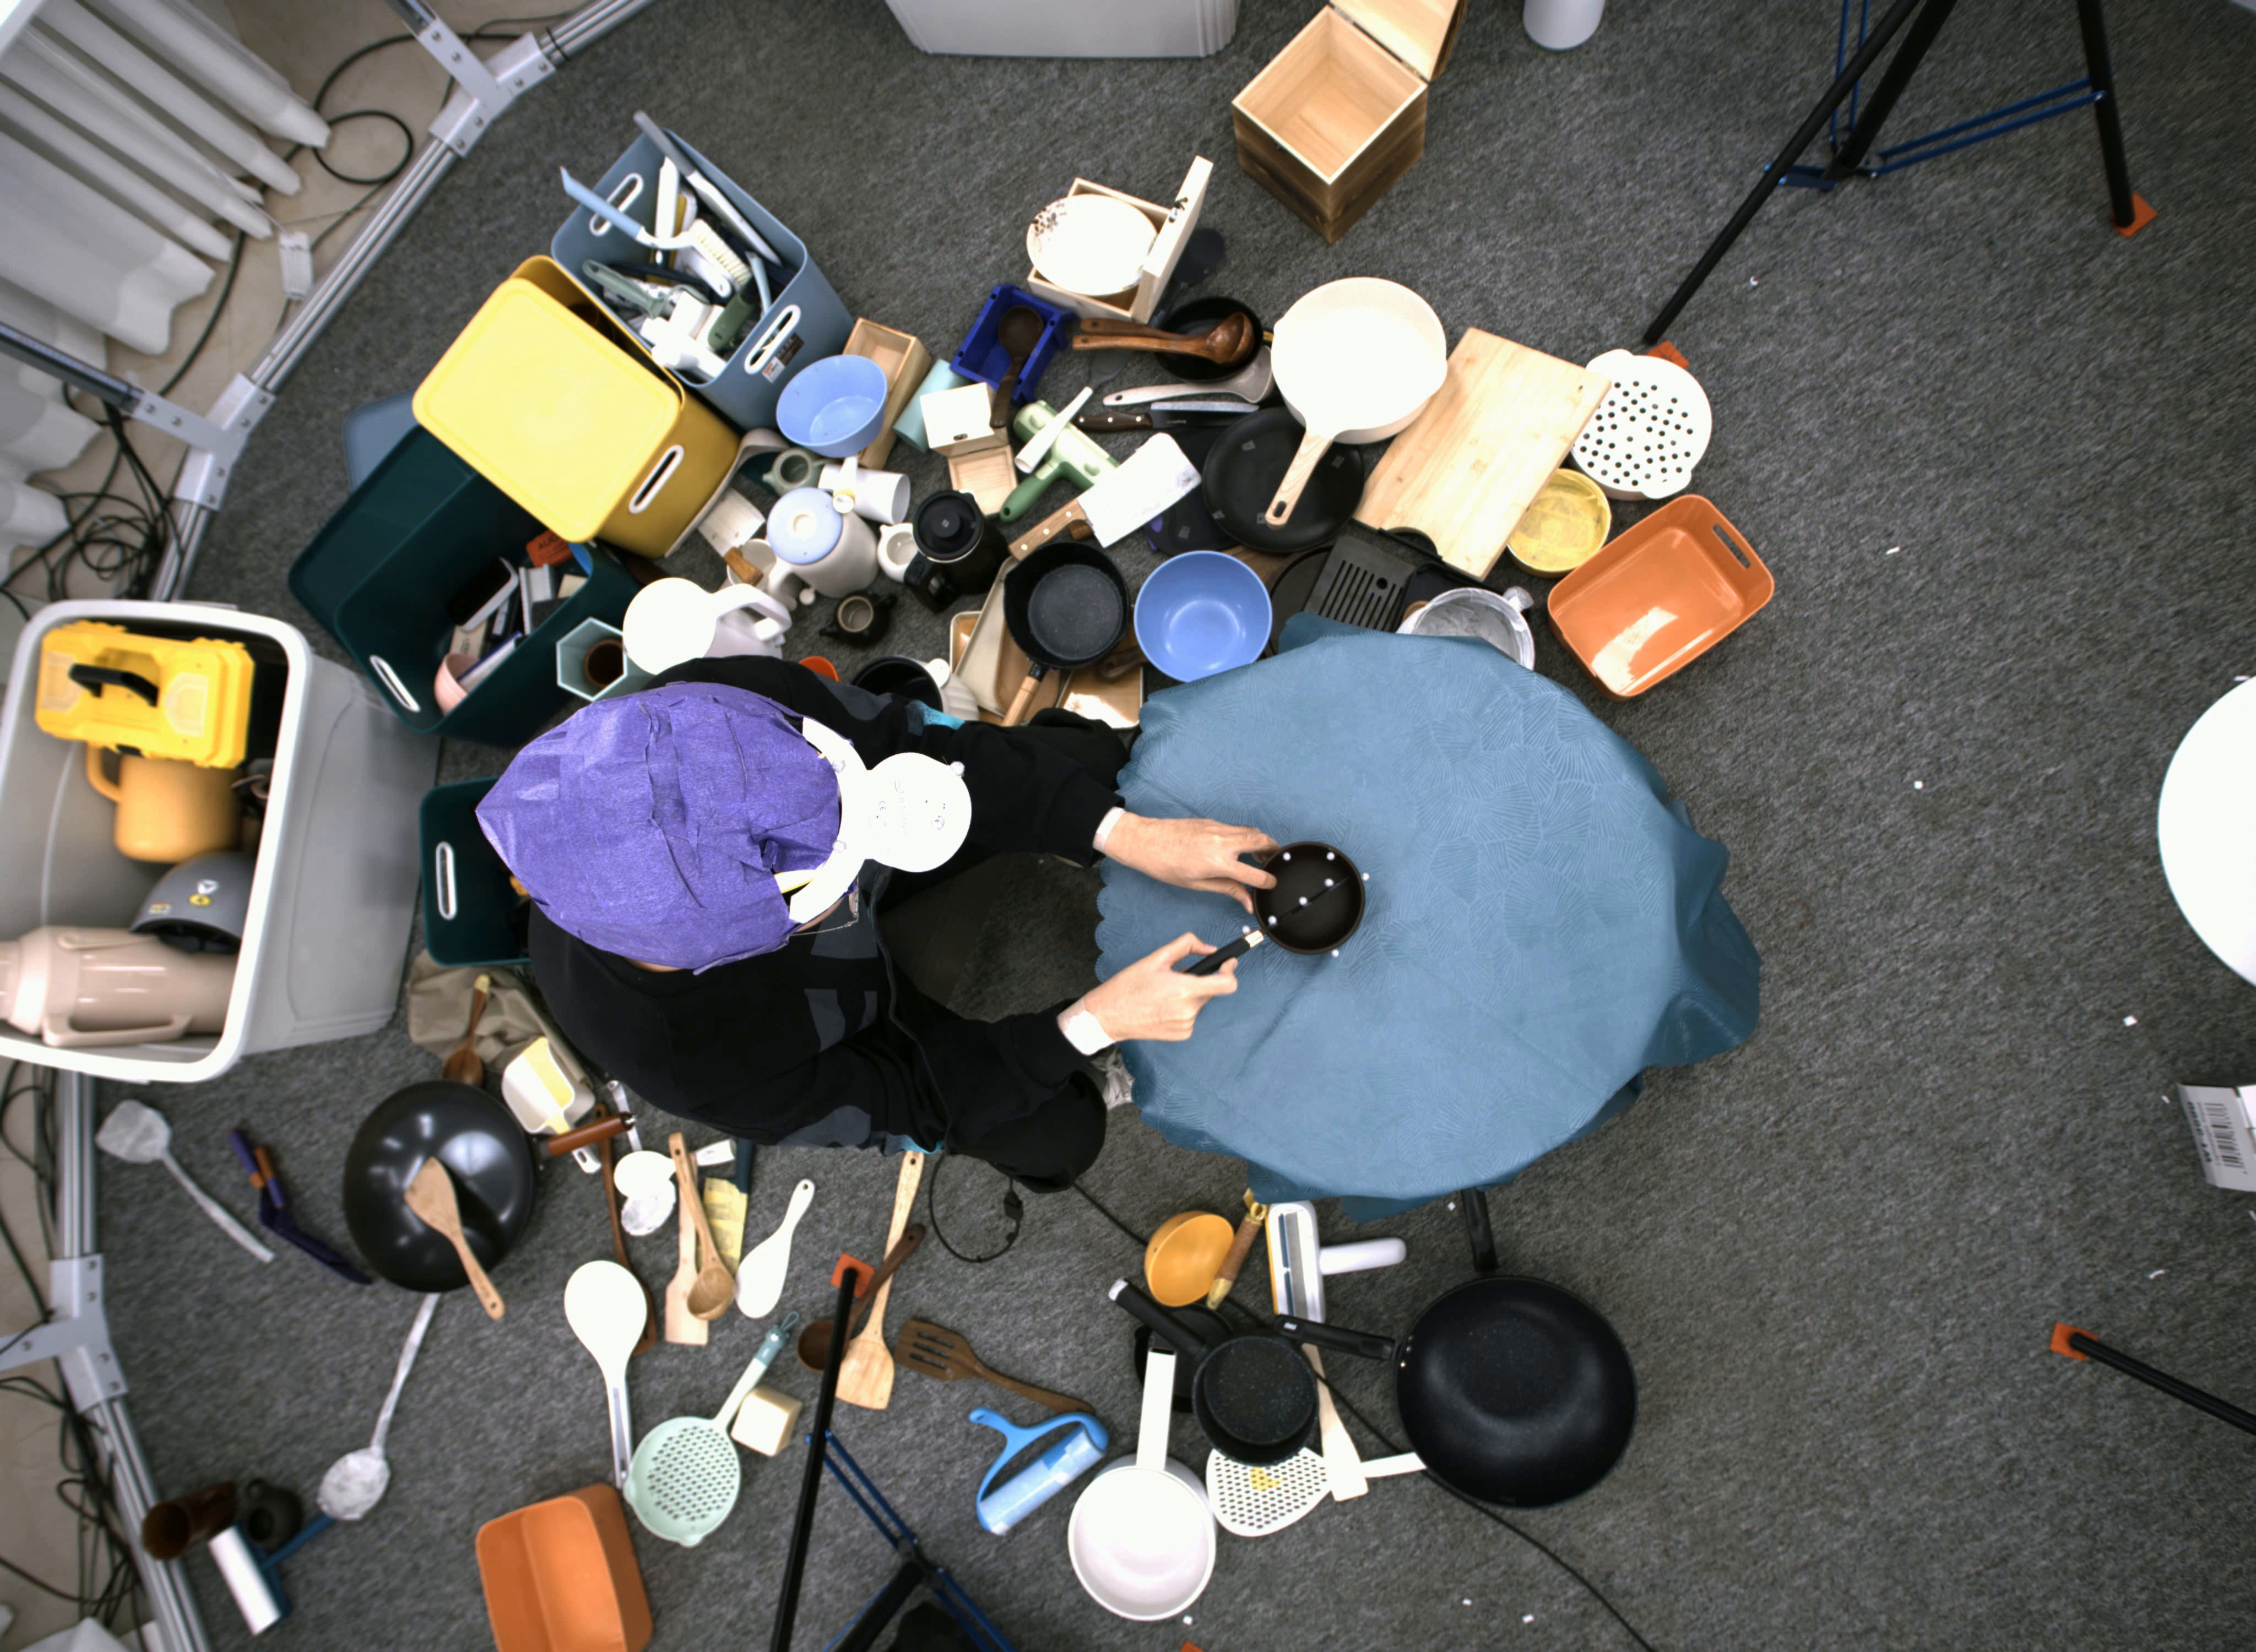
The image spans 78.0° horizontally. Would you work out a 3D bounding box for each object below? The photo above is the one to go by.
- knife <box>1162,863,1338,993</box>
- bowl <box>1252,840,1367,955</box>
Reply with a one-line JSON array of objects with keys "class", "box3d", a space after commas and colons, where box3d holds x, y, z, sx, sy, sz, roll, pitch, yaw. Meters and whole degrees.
[{"class": "knife", "box3d": [0.125, 0.099, 1.373, 0.223, 0.017, 0.026, -32, 57, -15]}, {"class": "bowl", "box3d": [0.189, 0.075, 1.437, 0.118, 0.070, 0.117, -1, 85, 12]}]
